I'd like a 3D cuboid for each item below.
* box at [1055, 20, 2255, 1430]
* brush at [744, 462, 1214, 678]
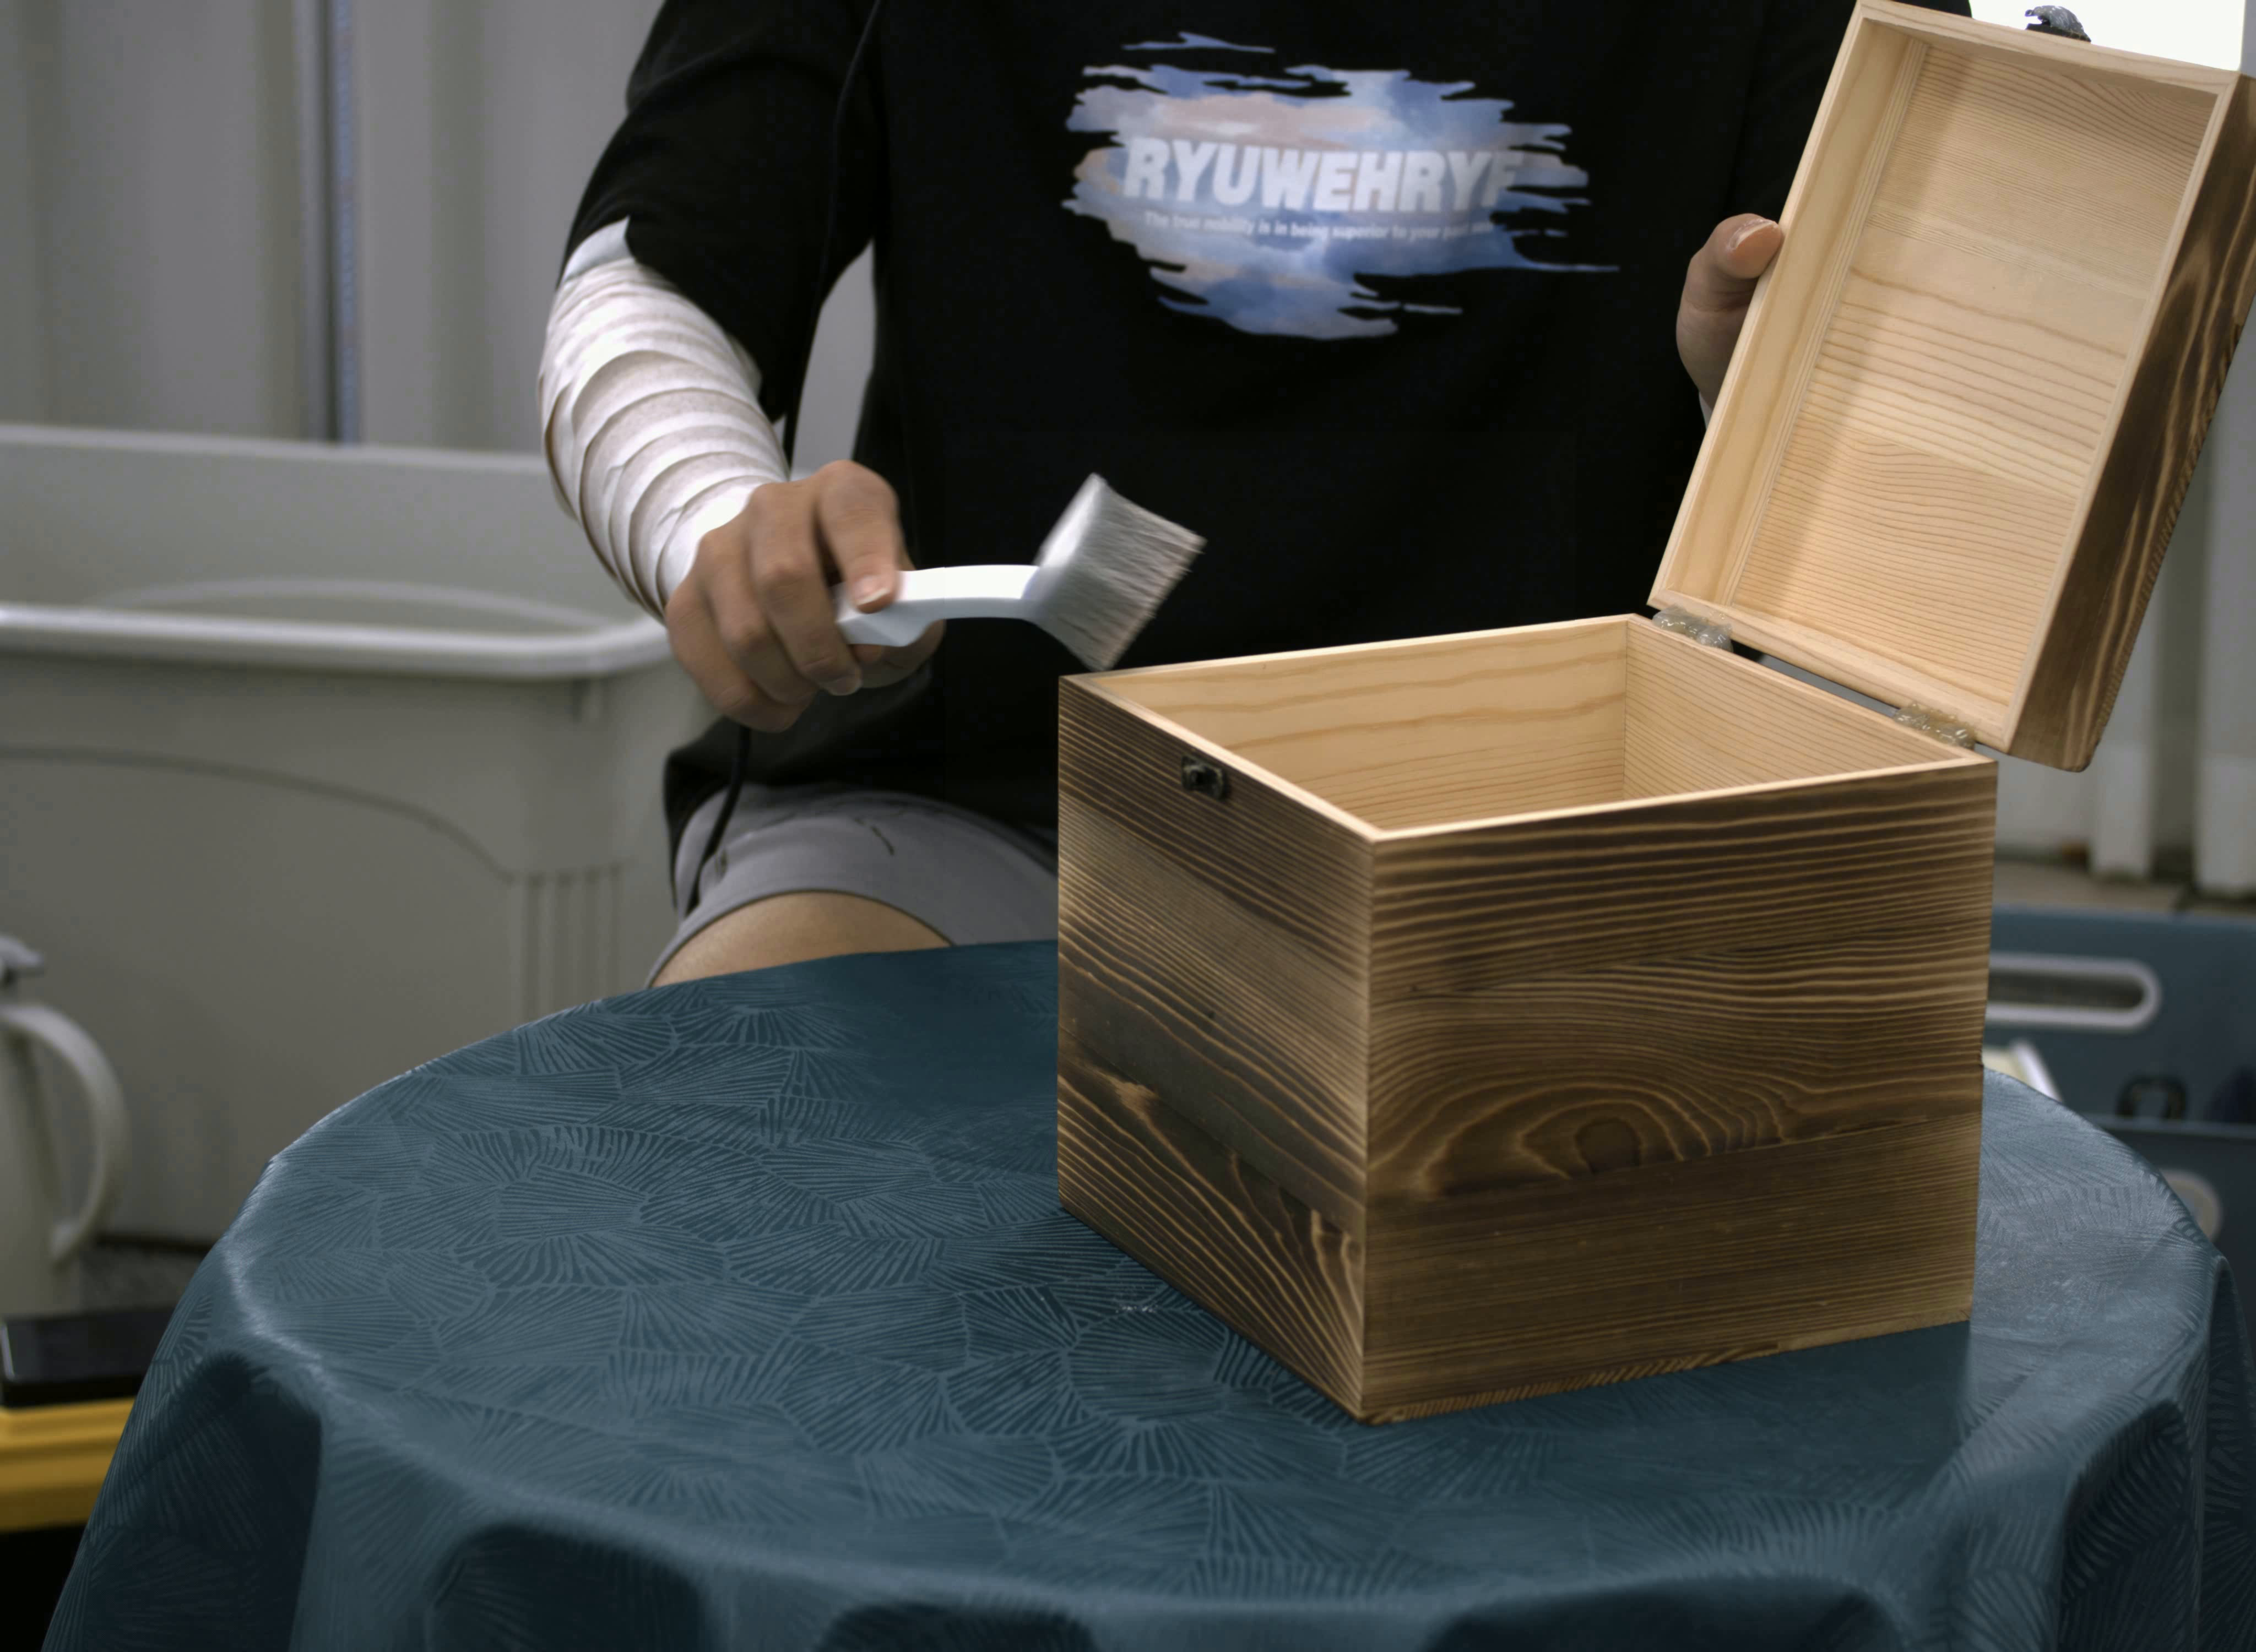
[{"bbox_3d":[0.159,-0.047,1.542,0.323,0.378,0.206,-5,15,-26],"label":"box"},{"bbox_3d":[-0.047,-0.063,1.630,0.034,0.050,0.242,-55,19,-26],"label":"brush"}]
